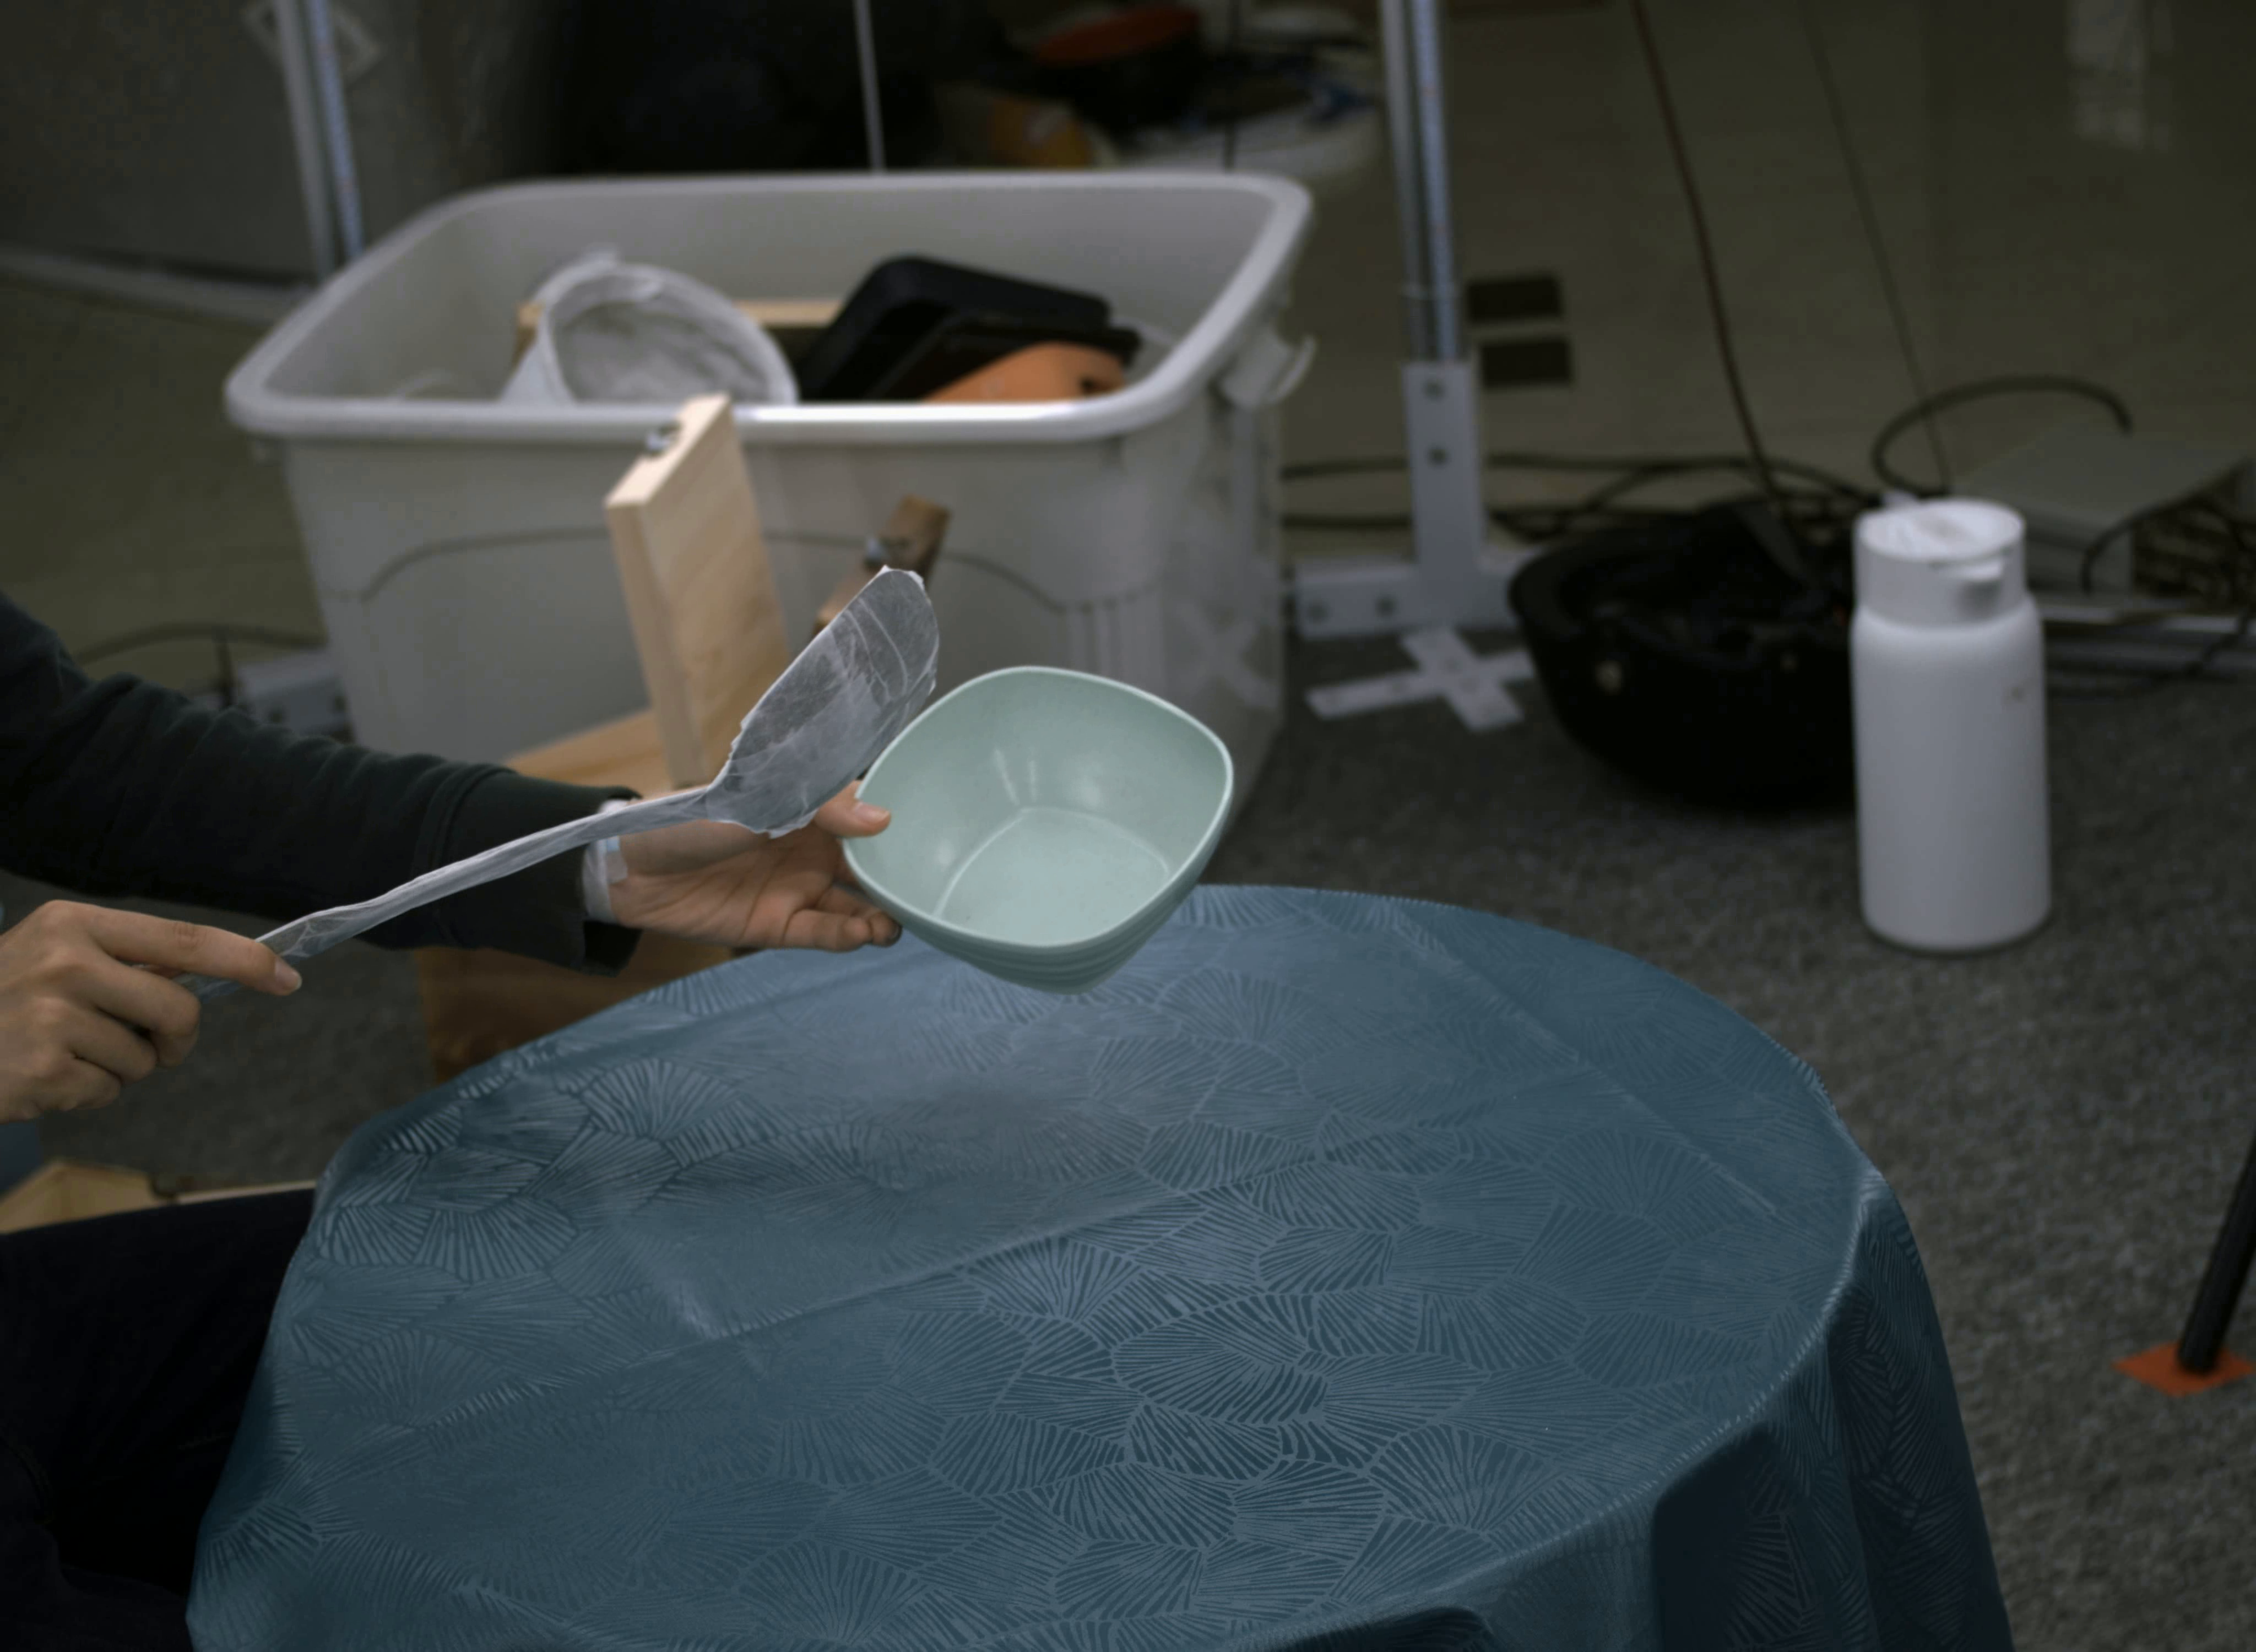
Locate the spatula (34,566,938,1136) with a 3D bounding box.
[{"bbox_3d":[-0.224,0.013,1.991,0.364,0.100,0.044,-24,62,-9],"label":"spatula"}]

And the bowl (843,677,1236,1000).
[{"bbox_3d":[-0.031,0.013,2.163,0.151,0.060,0.148,-3,45,3],"label":"bowl"}]
